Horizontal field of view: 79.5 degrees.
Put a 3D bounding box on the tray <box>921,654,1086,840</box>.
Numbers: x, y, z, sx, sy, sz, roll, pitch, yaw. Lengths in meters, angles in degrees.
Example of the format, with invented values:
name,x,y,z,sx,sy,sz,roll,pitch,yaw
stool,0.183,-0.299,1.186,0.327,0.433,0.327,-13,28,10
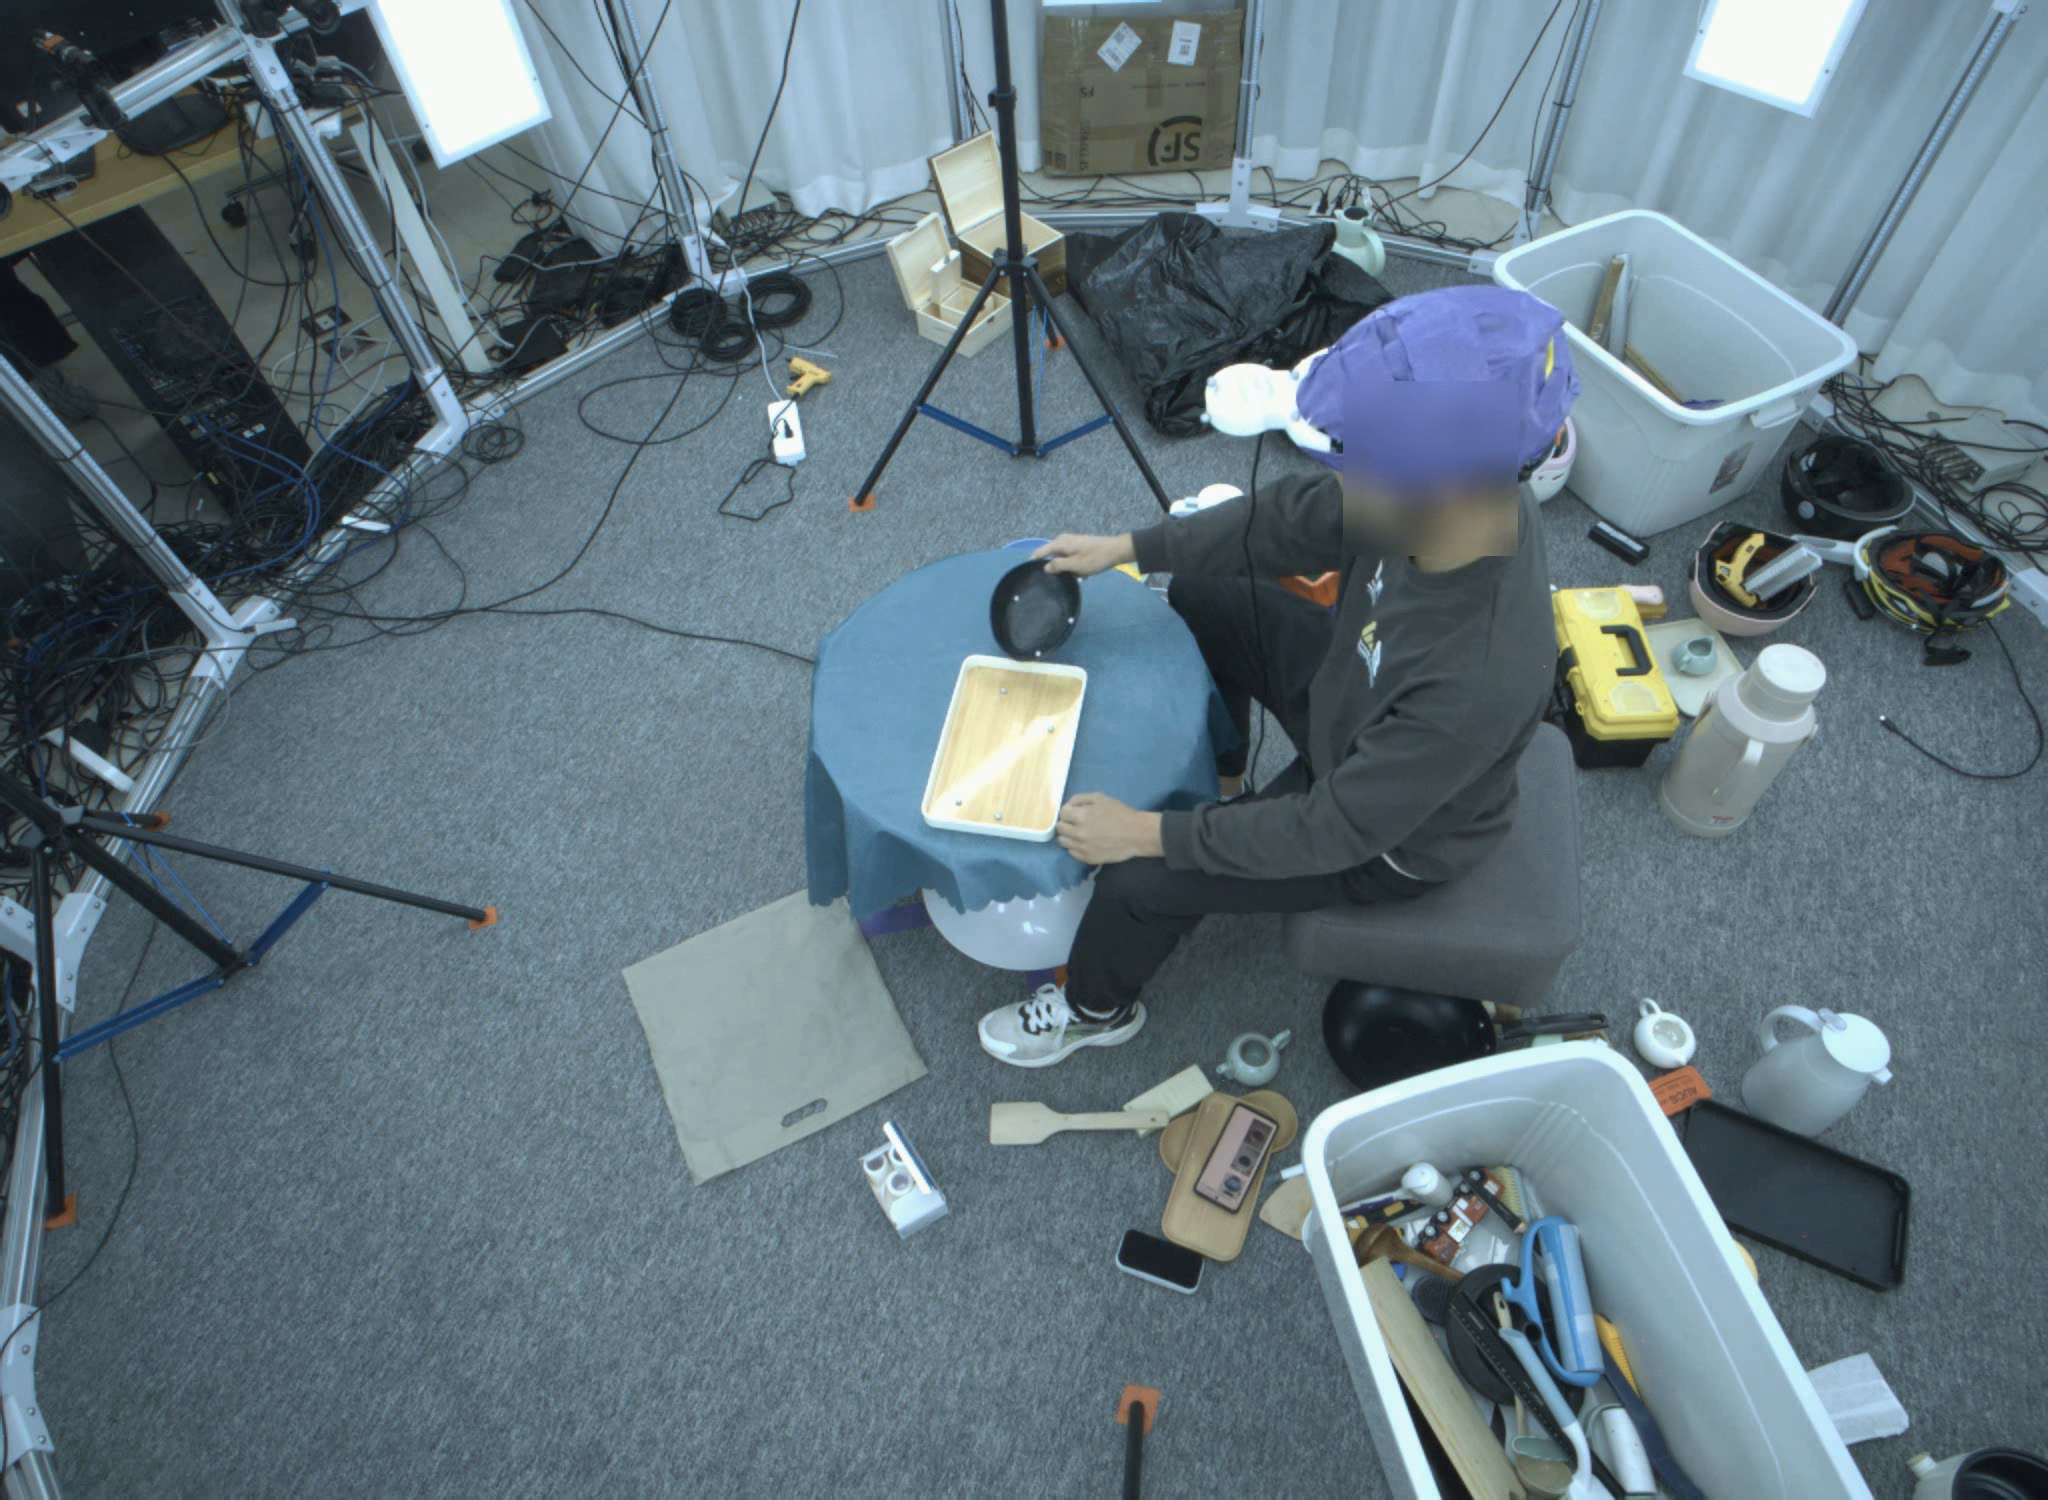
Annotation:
name,x,y,z,sx,sy,sz,roll,pitch,yaw
tray,-0.025,-0.010,1.777,0.190,0.028,0.298,8,55,7

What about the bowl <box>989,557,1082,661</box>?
name,x,y,z,sx,sy,sz,roll,pitch,yaw
bowl,0.020,-0.202,1.841,0.136,0.067,0.170,10,70,14
